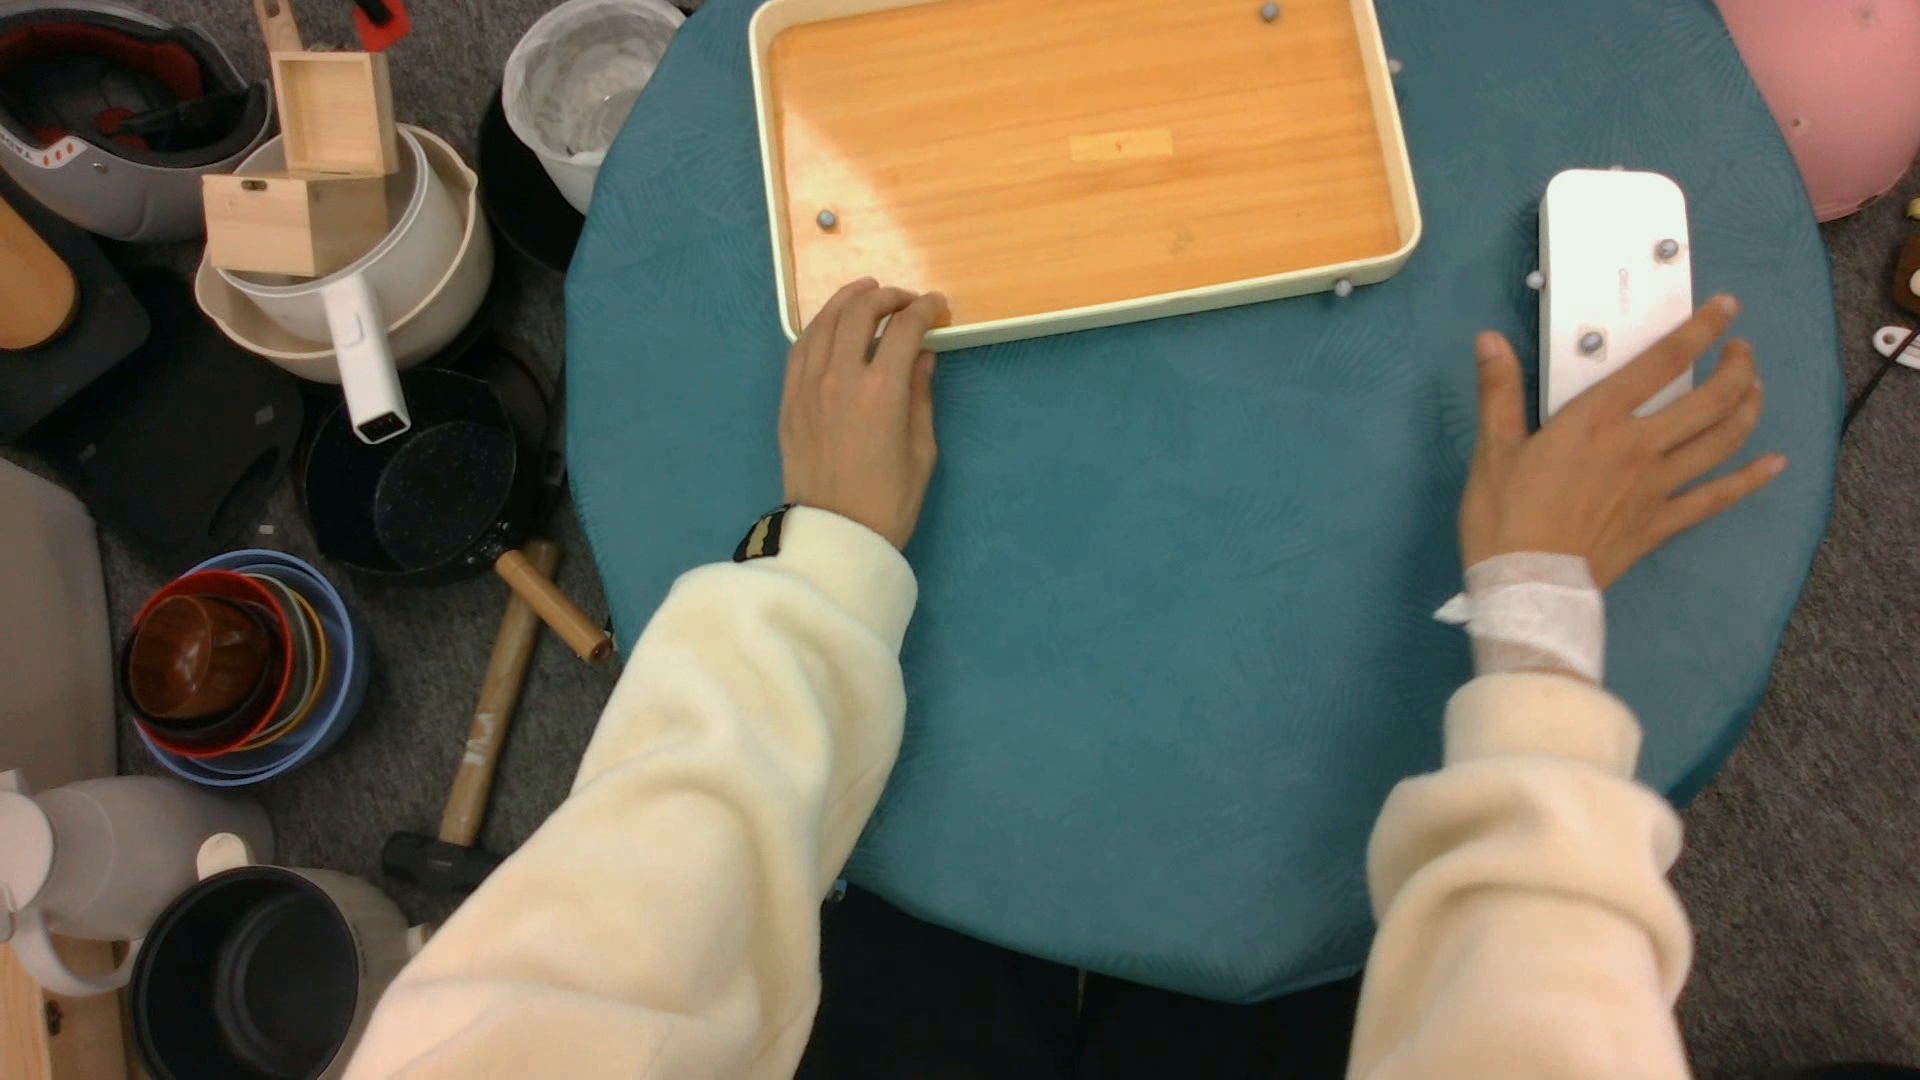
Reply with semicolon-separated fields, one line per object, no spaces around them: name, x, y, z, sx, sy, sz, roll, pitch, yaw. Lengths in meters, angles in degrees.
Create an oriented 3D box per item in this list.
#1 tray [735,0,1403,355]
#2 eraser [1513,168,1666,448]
tray;0.047;-0.201;0.669;0.300;0.027;0.192;-8;76;2
eraser;0.284;-0.107;0.629;0.063;0.034;0.131;5;77;4
